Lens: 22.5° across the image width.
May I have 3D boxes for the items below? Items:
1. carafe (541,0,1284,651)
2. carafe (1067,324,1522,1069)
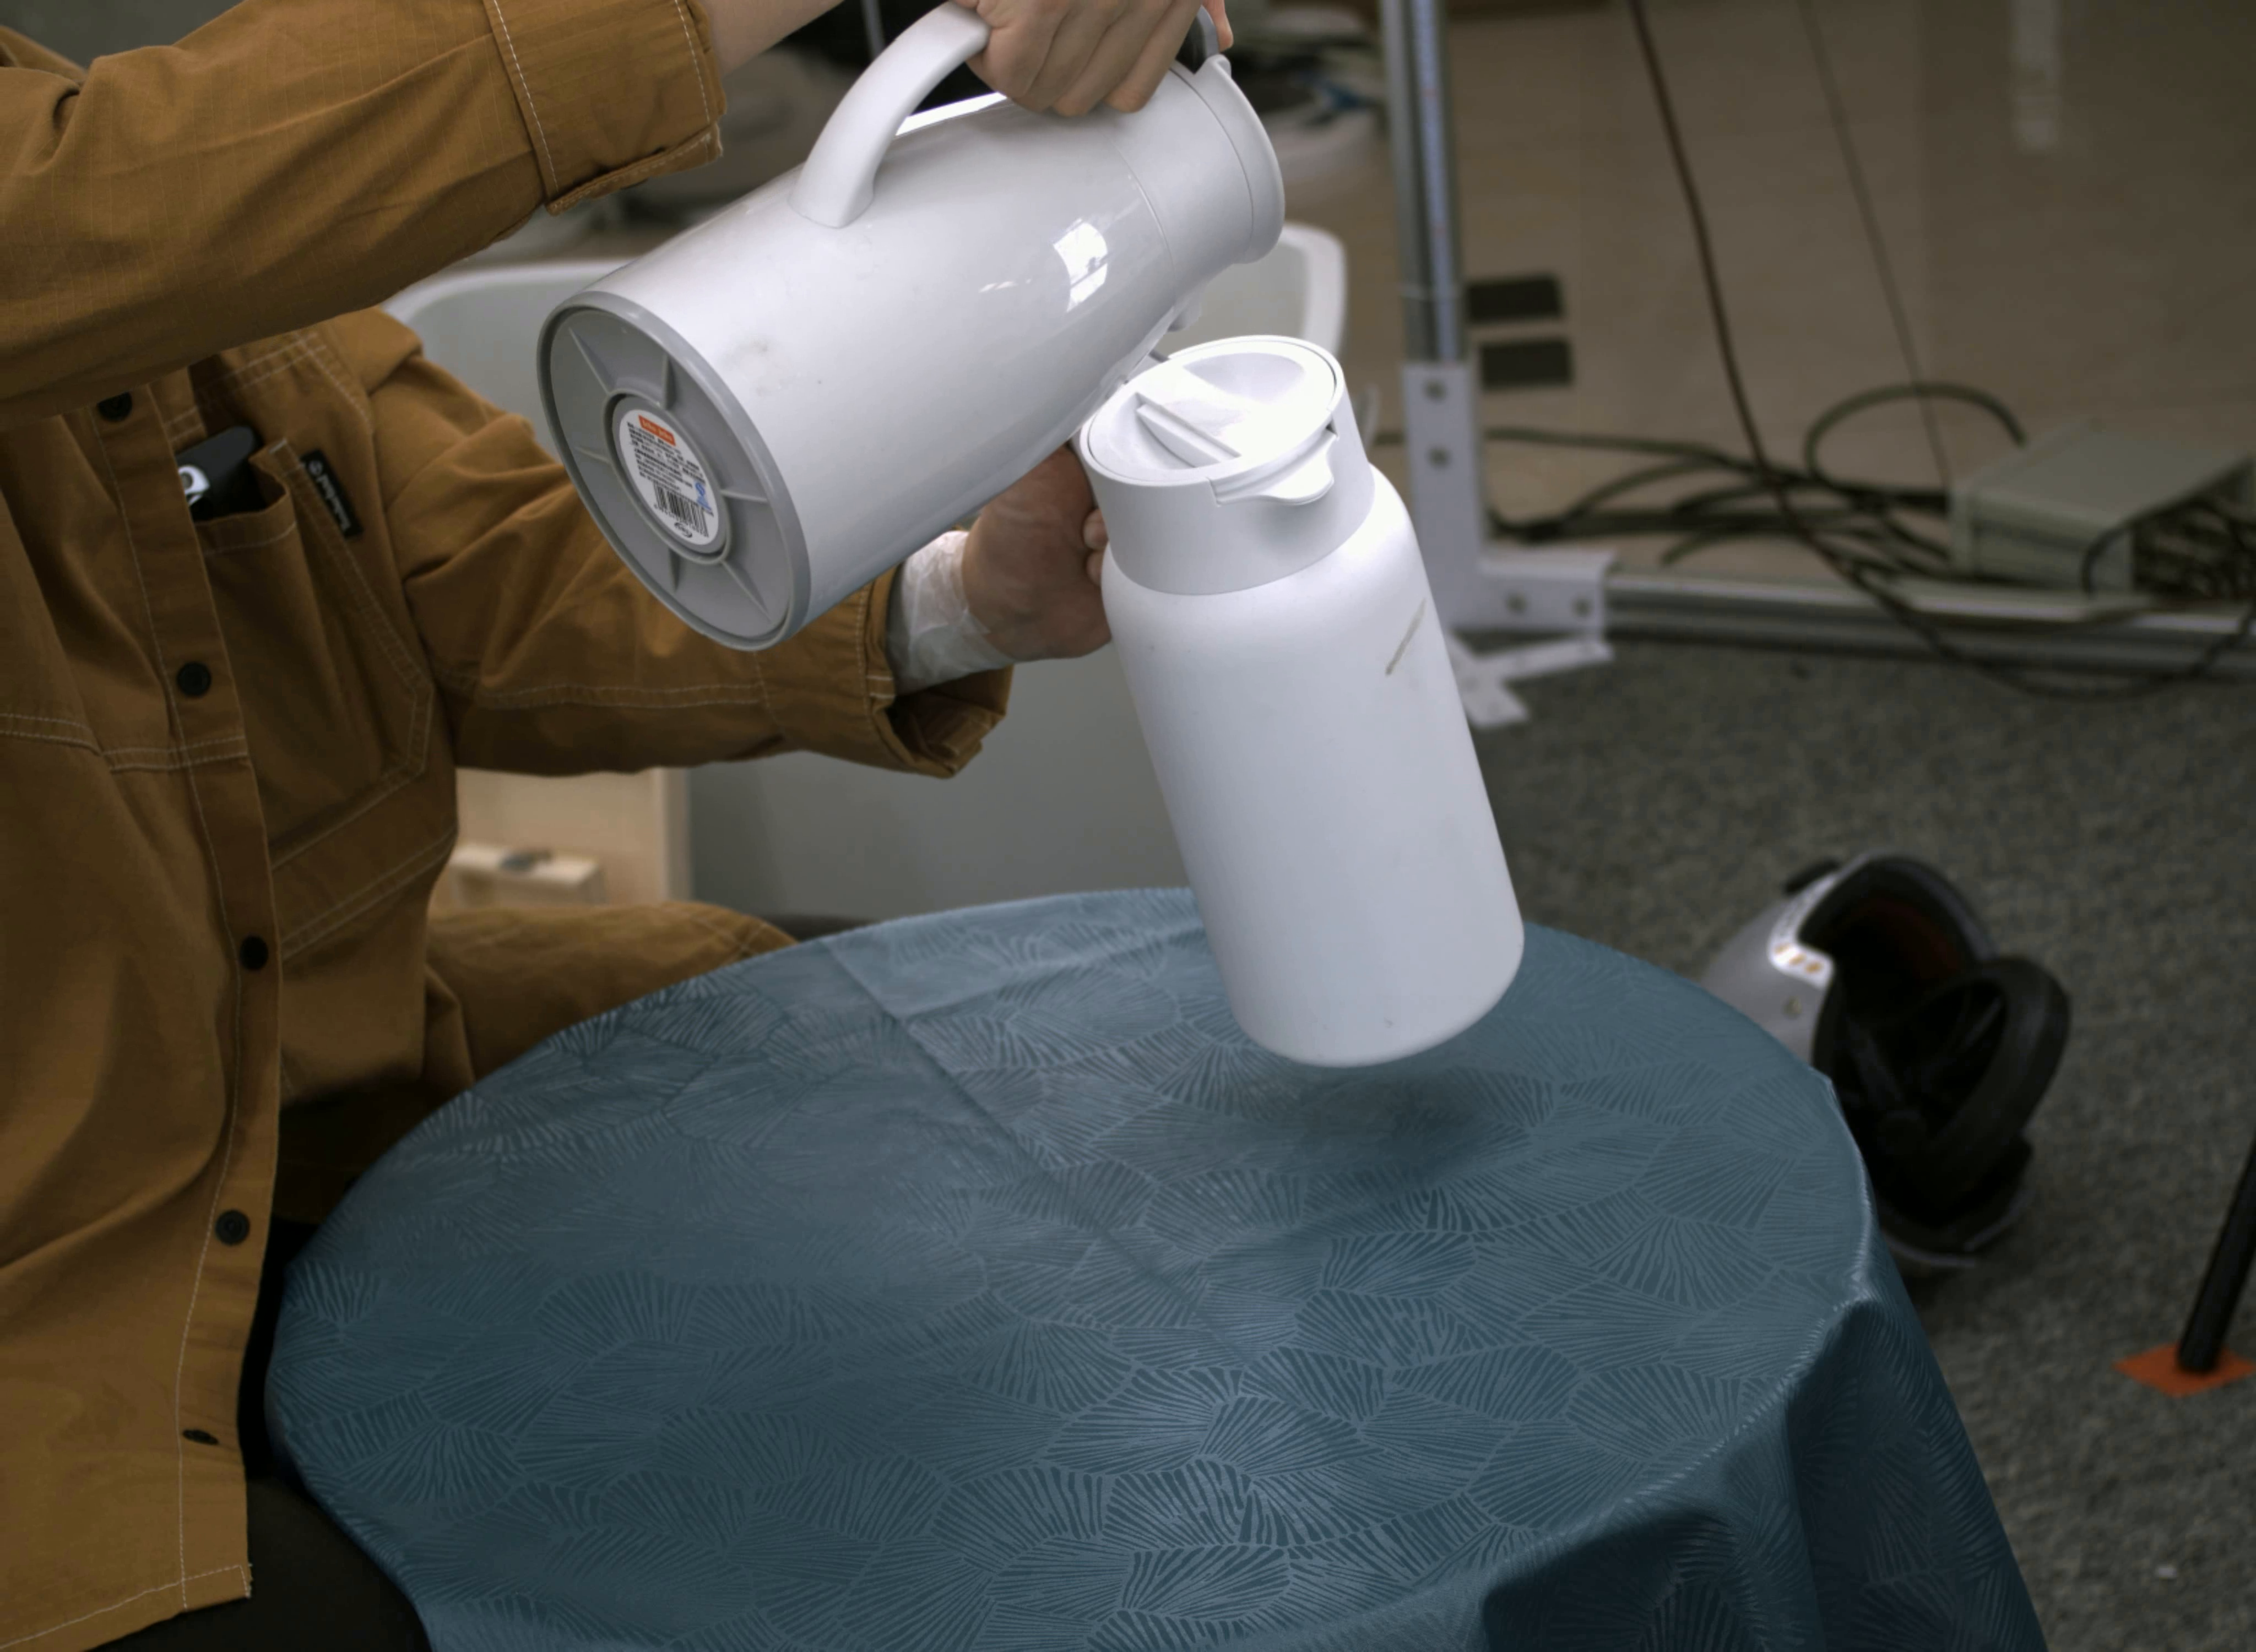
[{"bbox_3d":[-0.063,-0.191,1.893,0.246,0.171,0.131,-36,50,-26],"label":"carafe"},{"bbox_3d":[0.053,-0.051,2.108,0.123,0.274,0.171,-33,37,-17],"label":"carafe"}]
